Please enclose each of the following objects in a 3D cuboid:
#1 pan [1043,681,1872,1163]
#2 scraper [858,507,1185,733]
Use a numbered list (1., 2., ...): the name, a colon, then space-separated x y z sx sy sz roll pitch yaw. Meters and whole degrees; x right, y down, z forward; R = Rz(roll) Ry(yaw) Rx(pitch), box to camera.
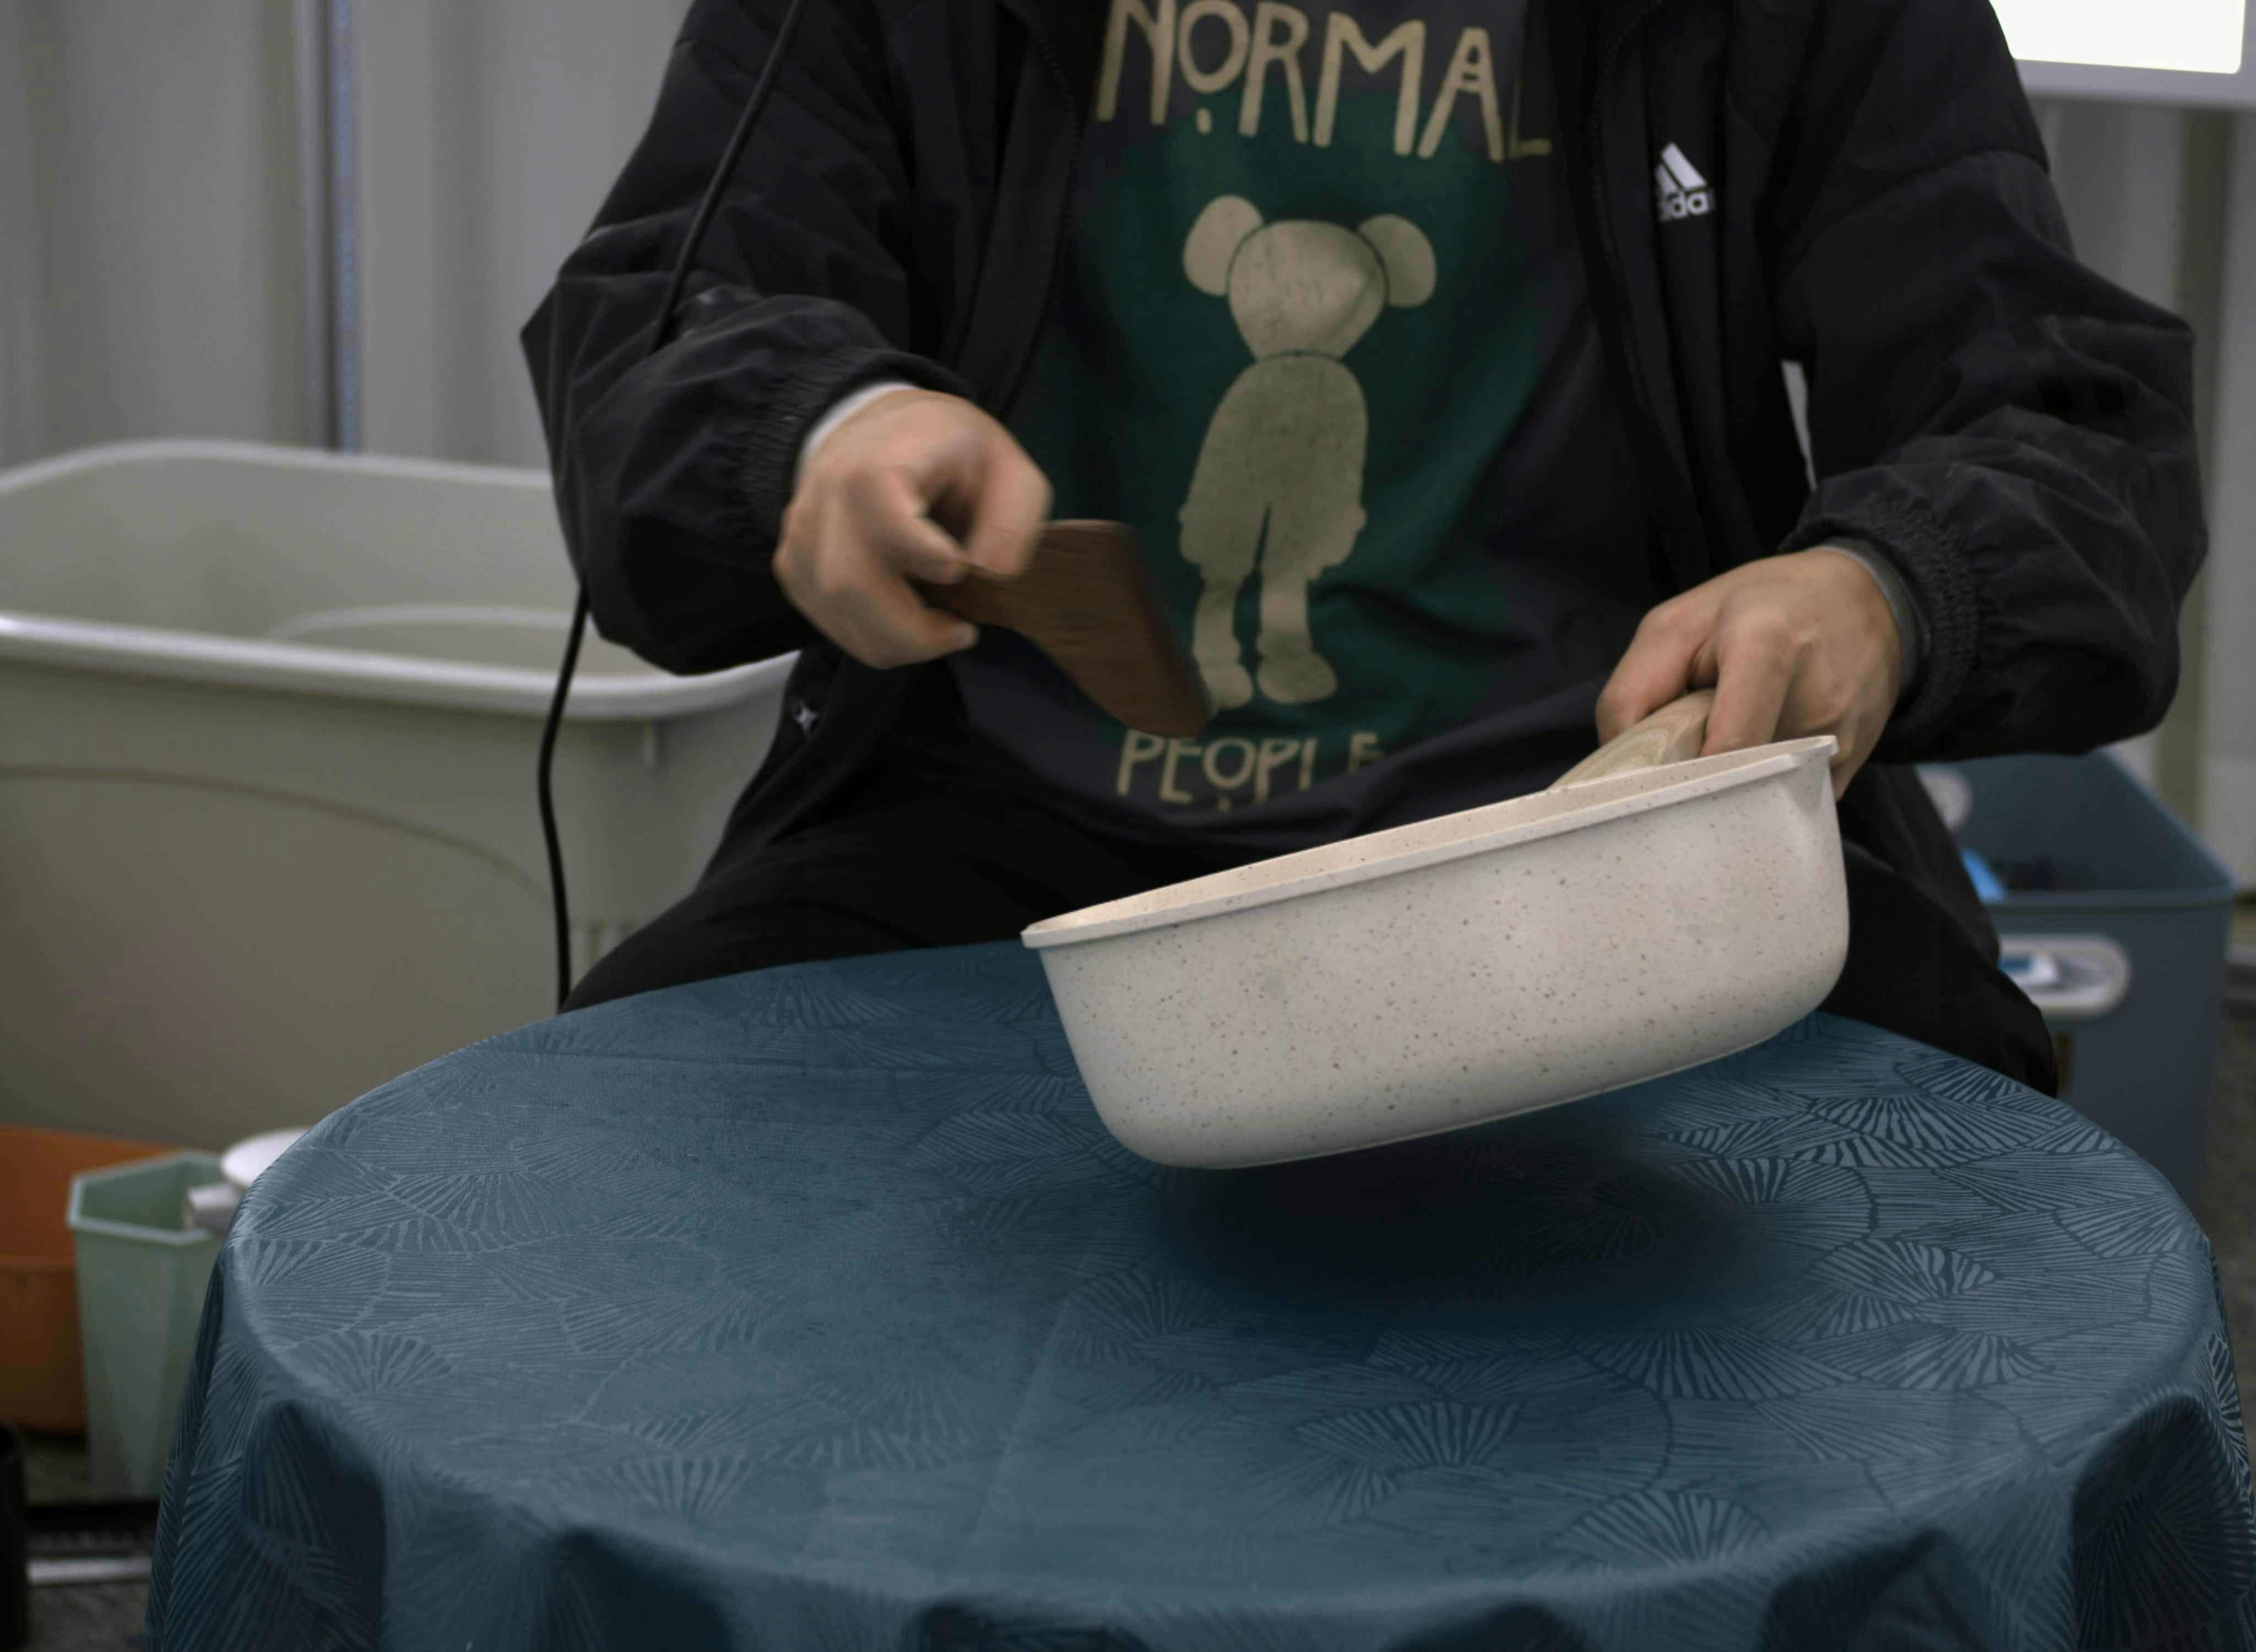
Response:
1. pan: 0.142 0.021 1.659 0.261 0.102 0.437 -15 0 26
2. scraper: -0.041 -0.071 1.656 0.011 0.076 0.209 -32 19 -18
